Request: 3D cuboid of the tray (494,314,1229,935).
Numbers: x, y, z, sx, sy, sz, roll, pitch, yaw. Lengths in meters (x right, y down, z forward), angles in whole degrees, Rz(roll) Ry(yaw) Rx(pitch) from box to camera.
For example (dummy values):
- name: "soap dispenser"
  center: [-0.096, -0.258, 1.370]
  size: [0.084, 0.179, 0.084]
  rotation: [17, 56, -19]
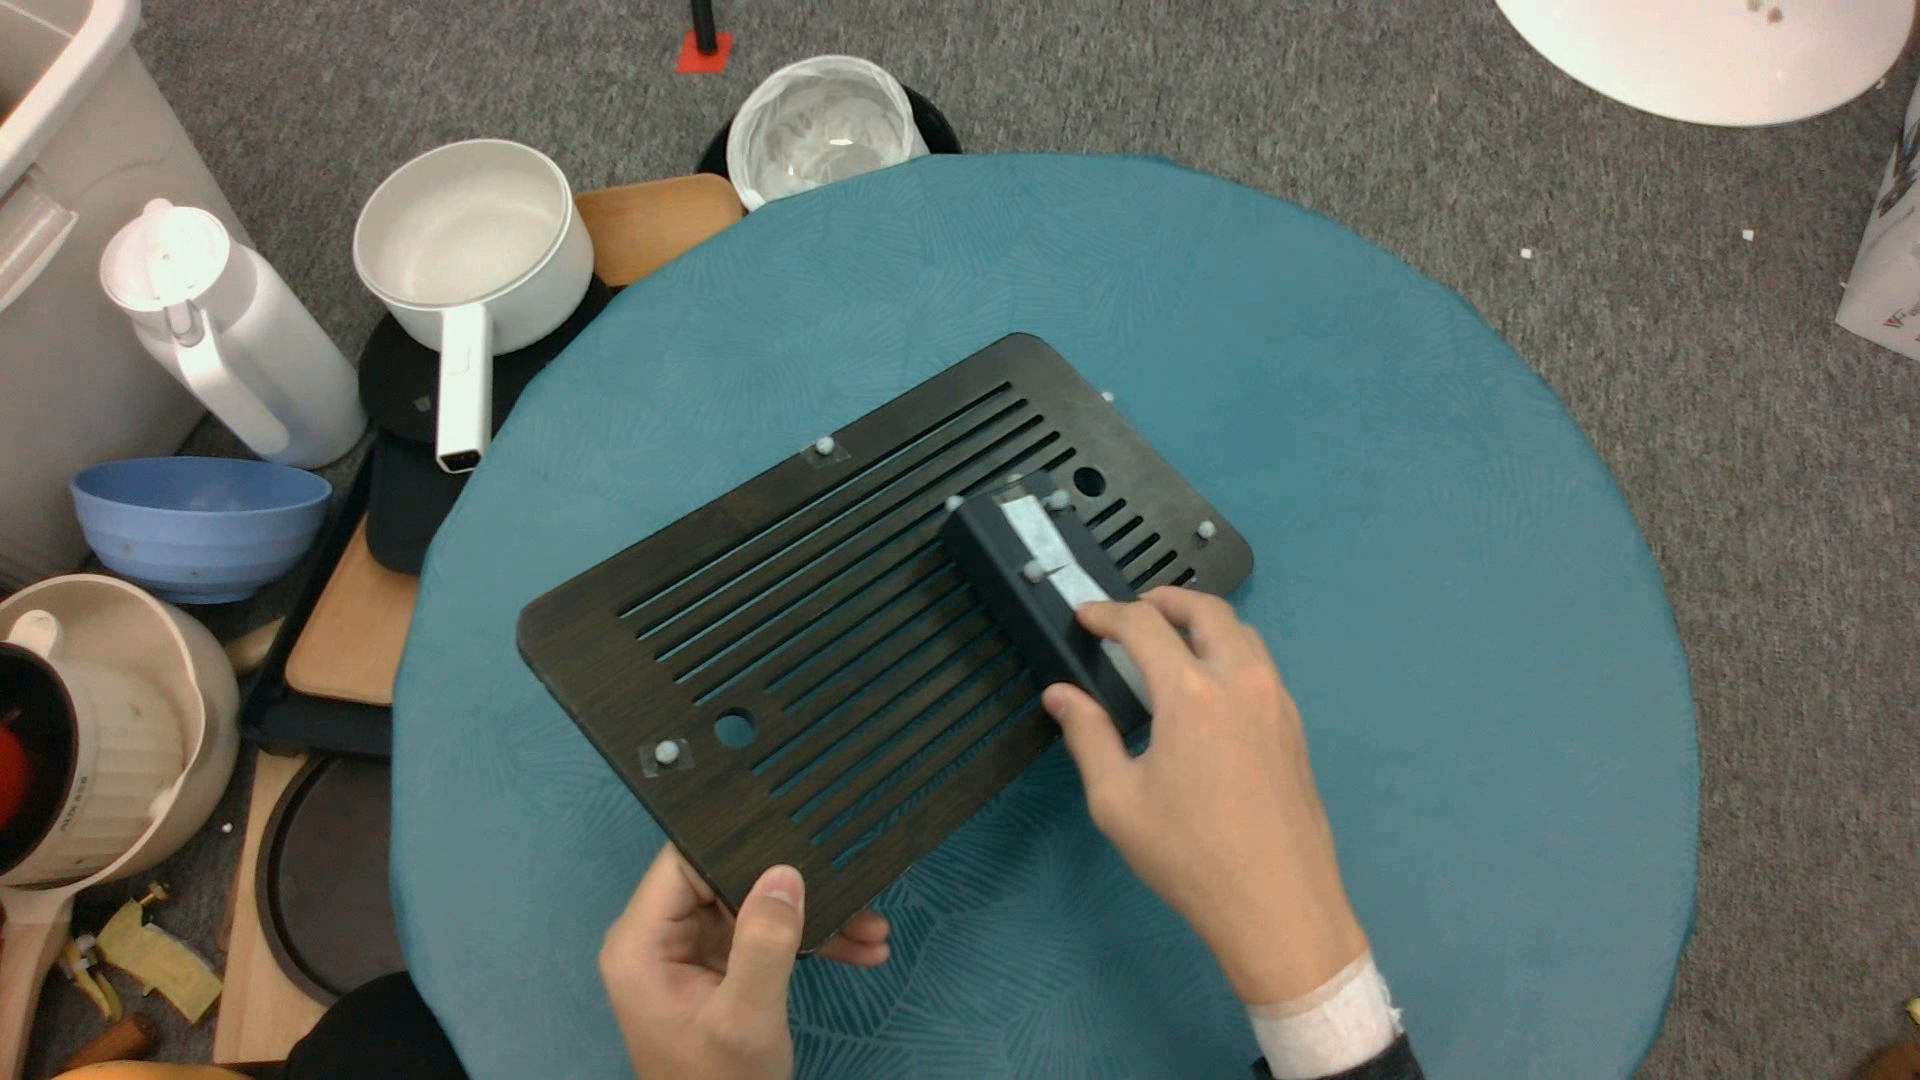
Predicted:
- name: "tray"
  center: [-0.025, 0.015, 0.590]
  size: [0.170, 0.018, 0.307]
  rotation: [46, 52, 12]

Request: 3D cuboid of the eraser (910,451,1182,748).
- name: "eraser"
  center: [0.034, 0.024, 0.582]
  size: [0.054, 0.030, 0.125]
  rotation: [-28, 72, -31]
